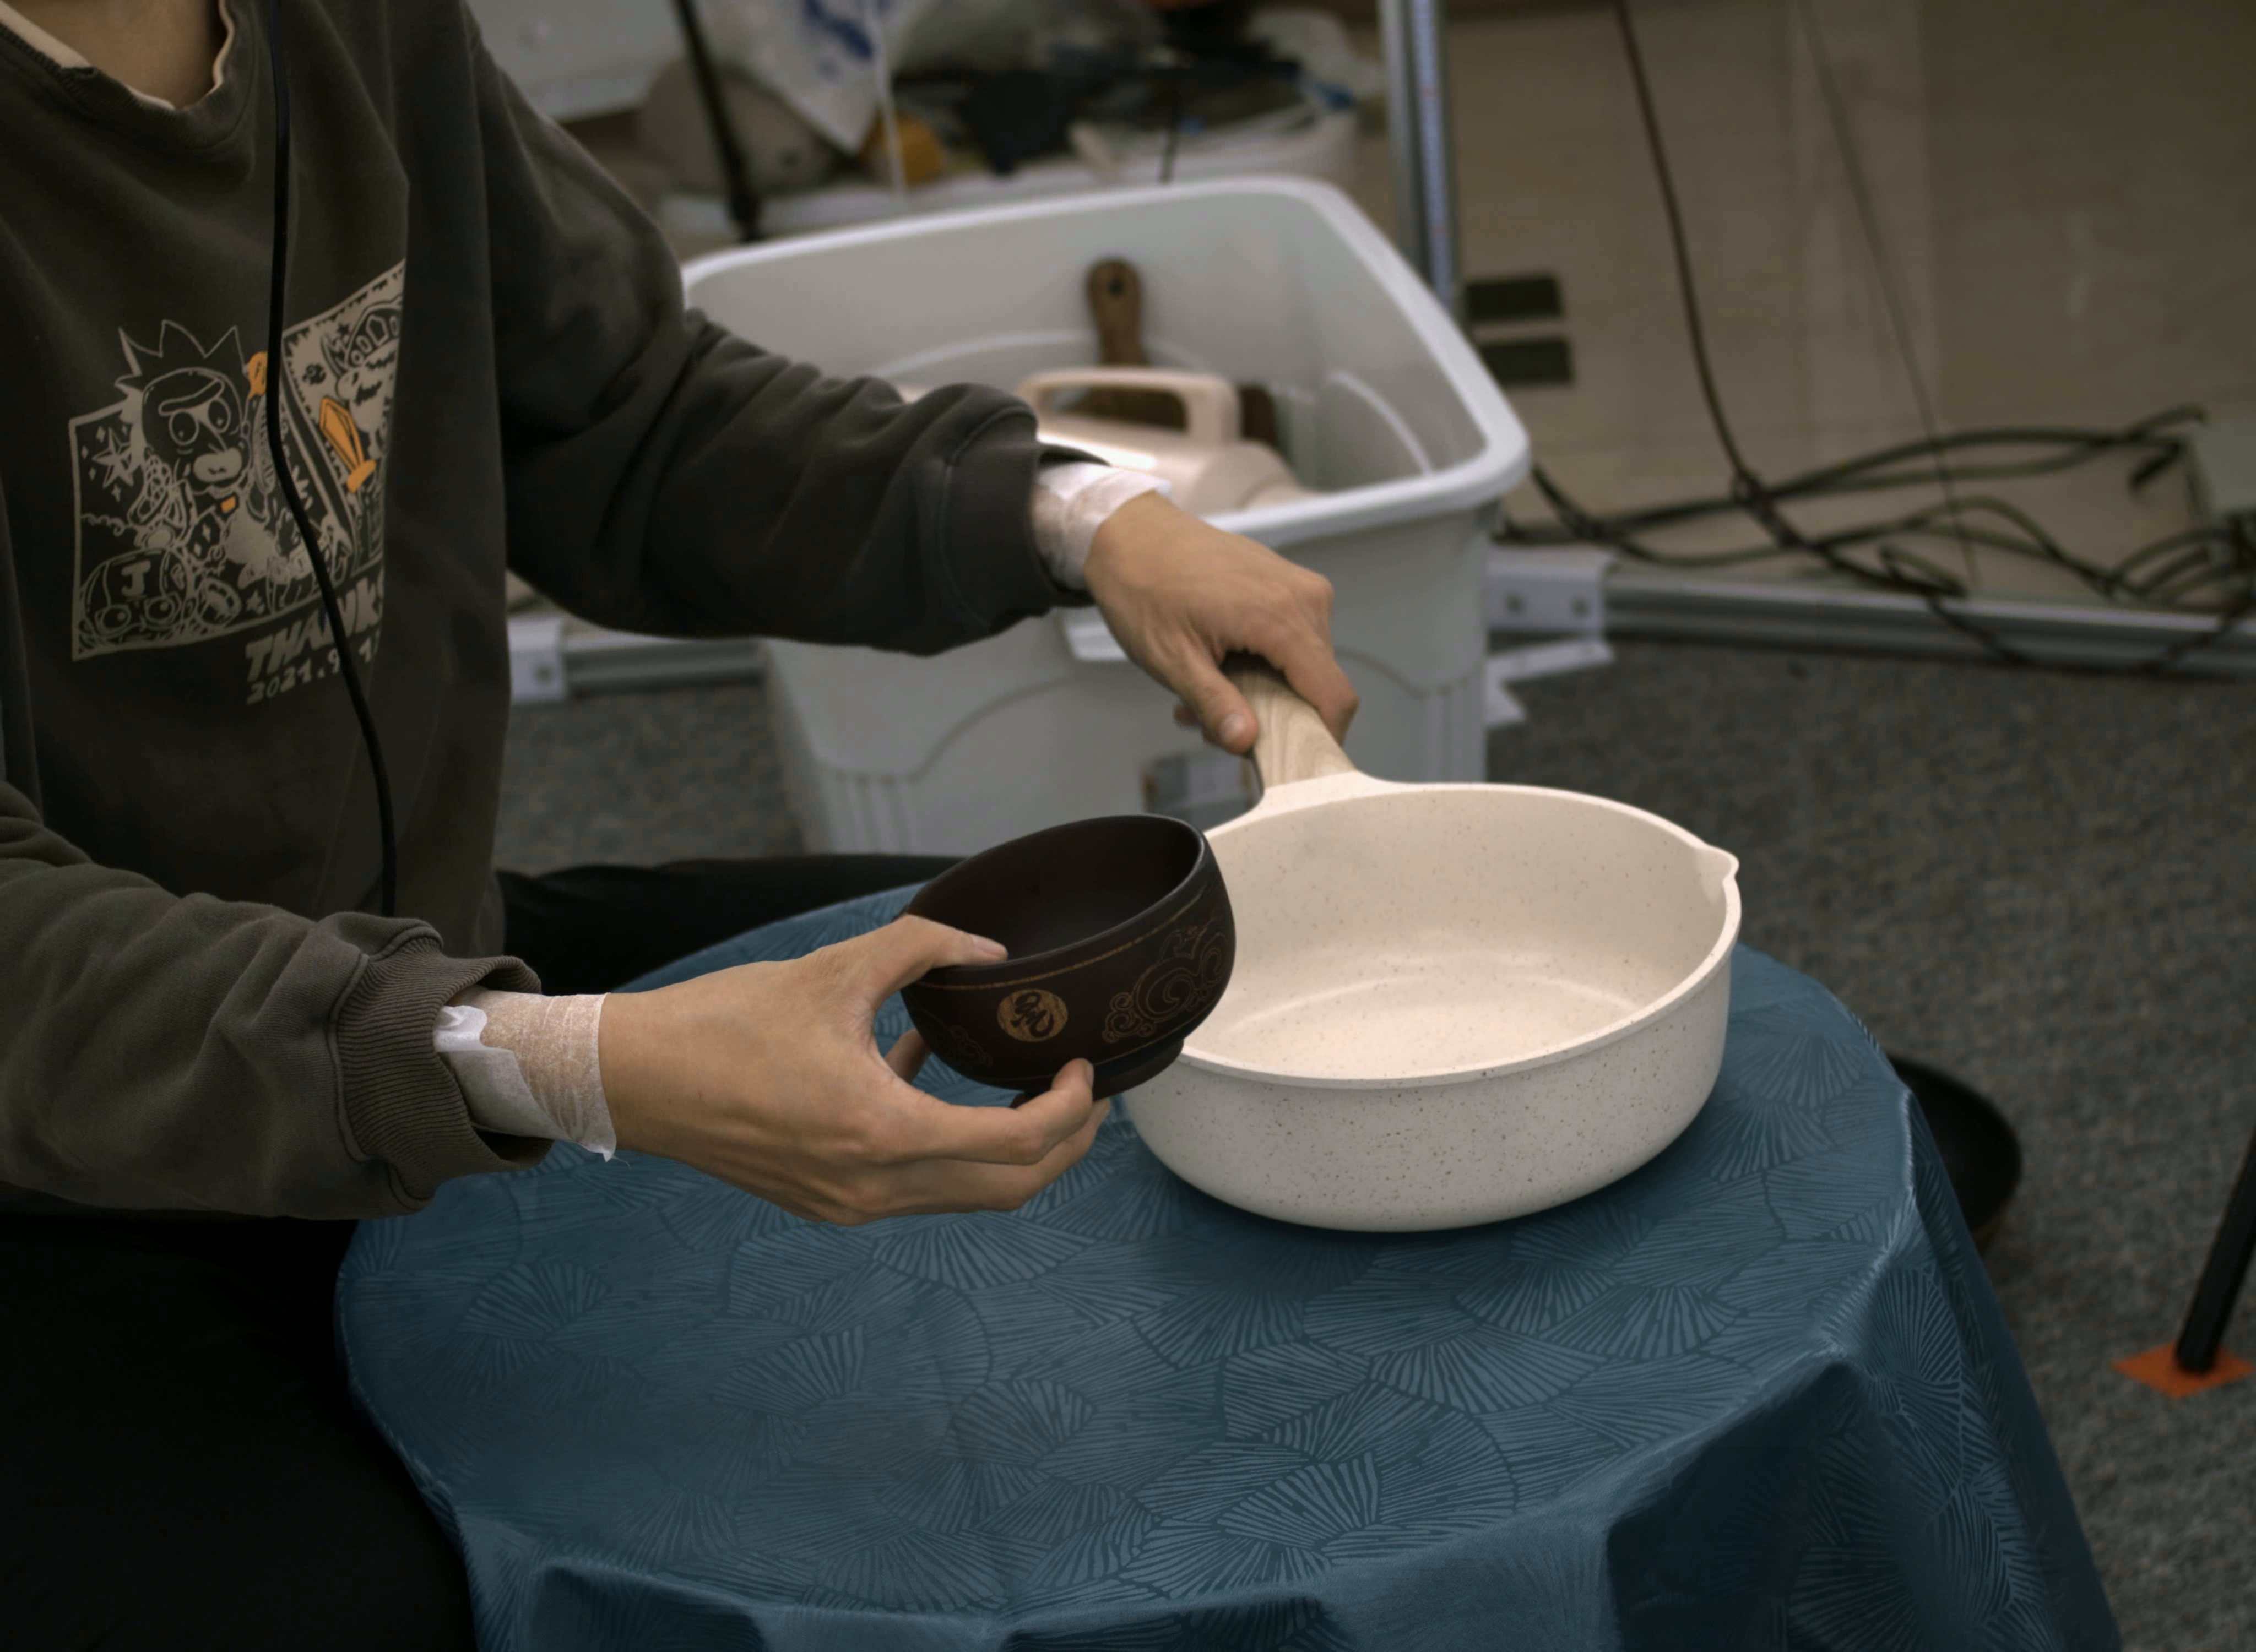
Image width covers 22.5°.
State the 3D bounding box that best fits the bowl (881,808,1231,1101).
[{"bbox_3d":[-0.020,0.051,1.940,0.118,0.071,0.116,-17,23,7],"label":"bowl"}]

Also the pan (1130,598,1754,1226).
[{"bbox_3d":[0.093,0.029,2.241,0.263,0.103,0.429,-13,25,-9],"label":"pan"}]
